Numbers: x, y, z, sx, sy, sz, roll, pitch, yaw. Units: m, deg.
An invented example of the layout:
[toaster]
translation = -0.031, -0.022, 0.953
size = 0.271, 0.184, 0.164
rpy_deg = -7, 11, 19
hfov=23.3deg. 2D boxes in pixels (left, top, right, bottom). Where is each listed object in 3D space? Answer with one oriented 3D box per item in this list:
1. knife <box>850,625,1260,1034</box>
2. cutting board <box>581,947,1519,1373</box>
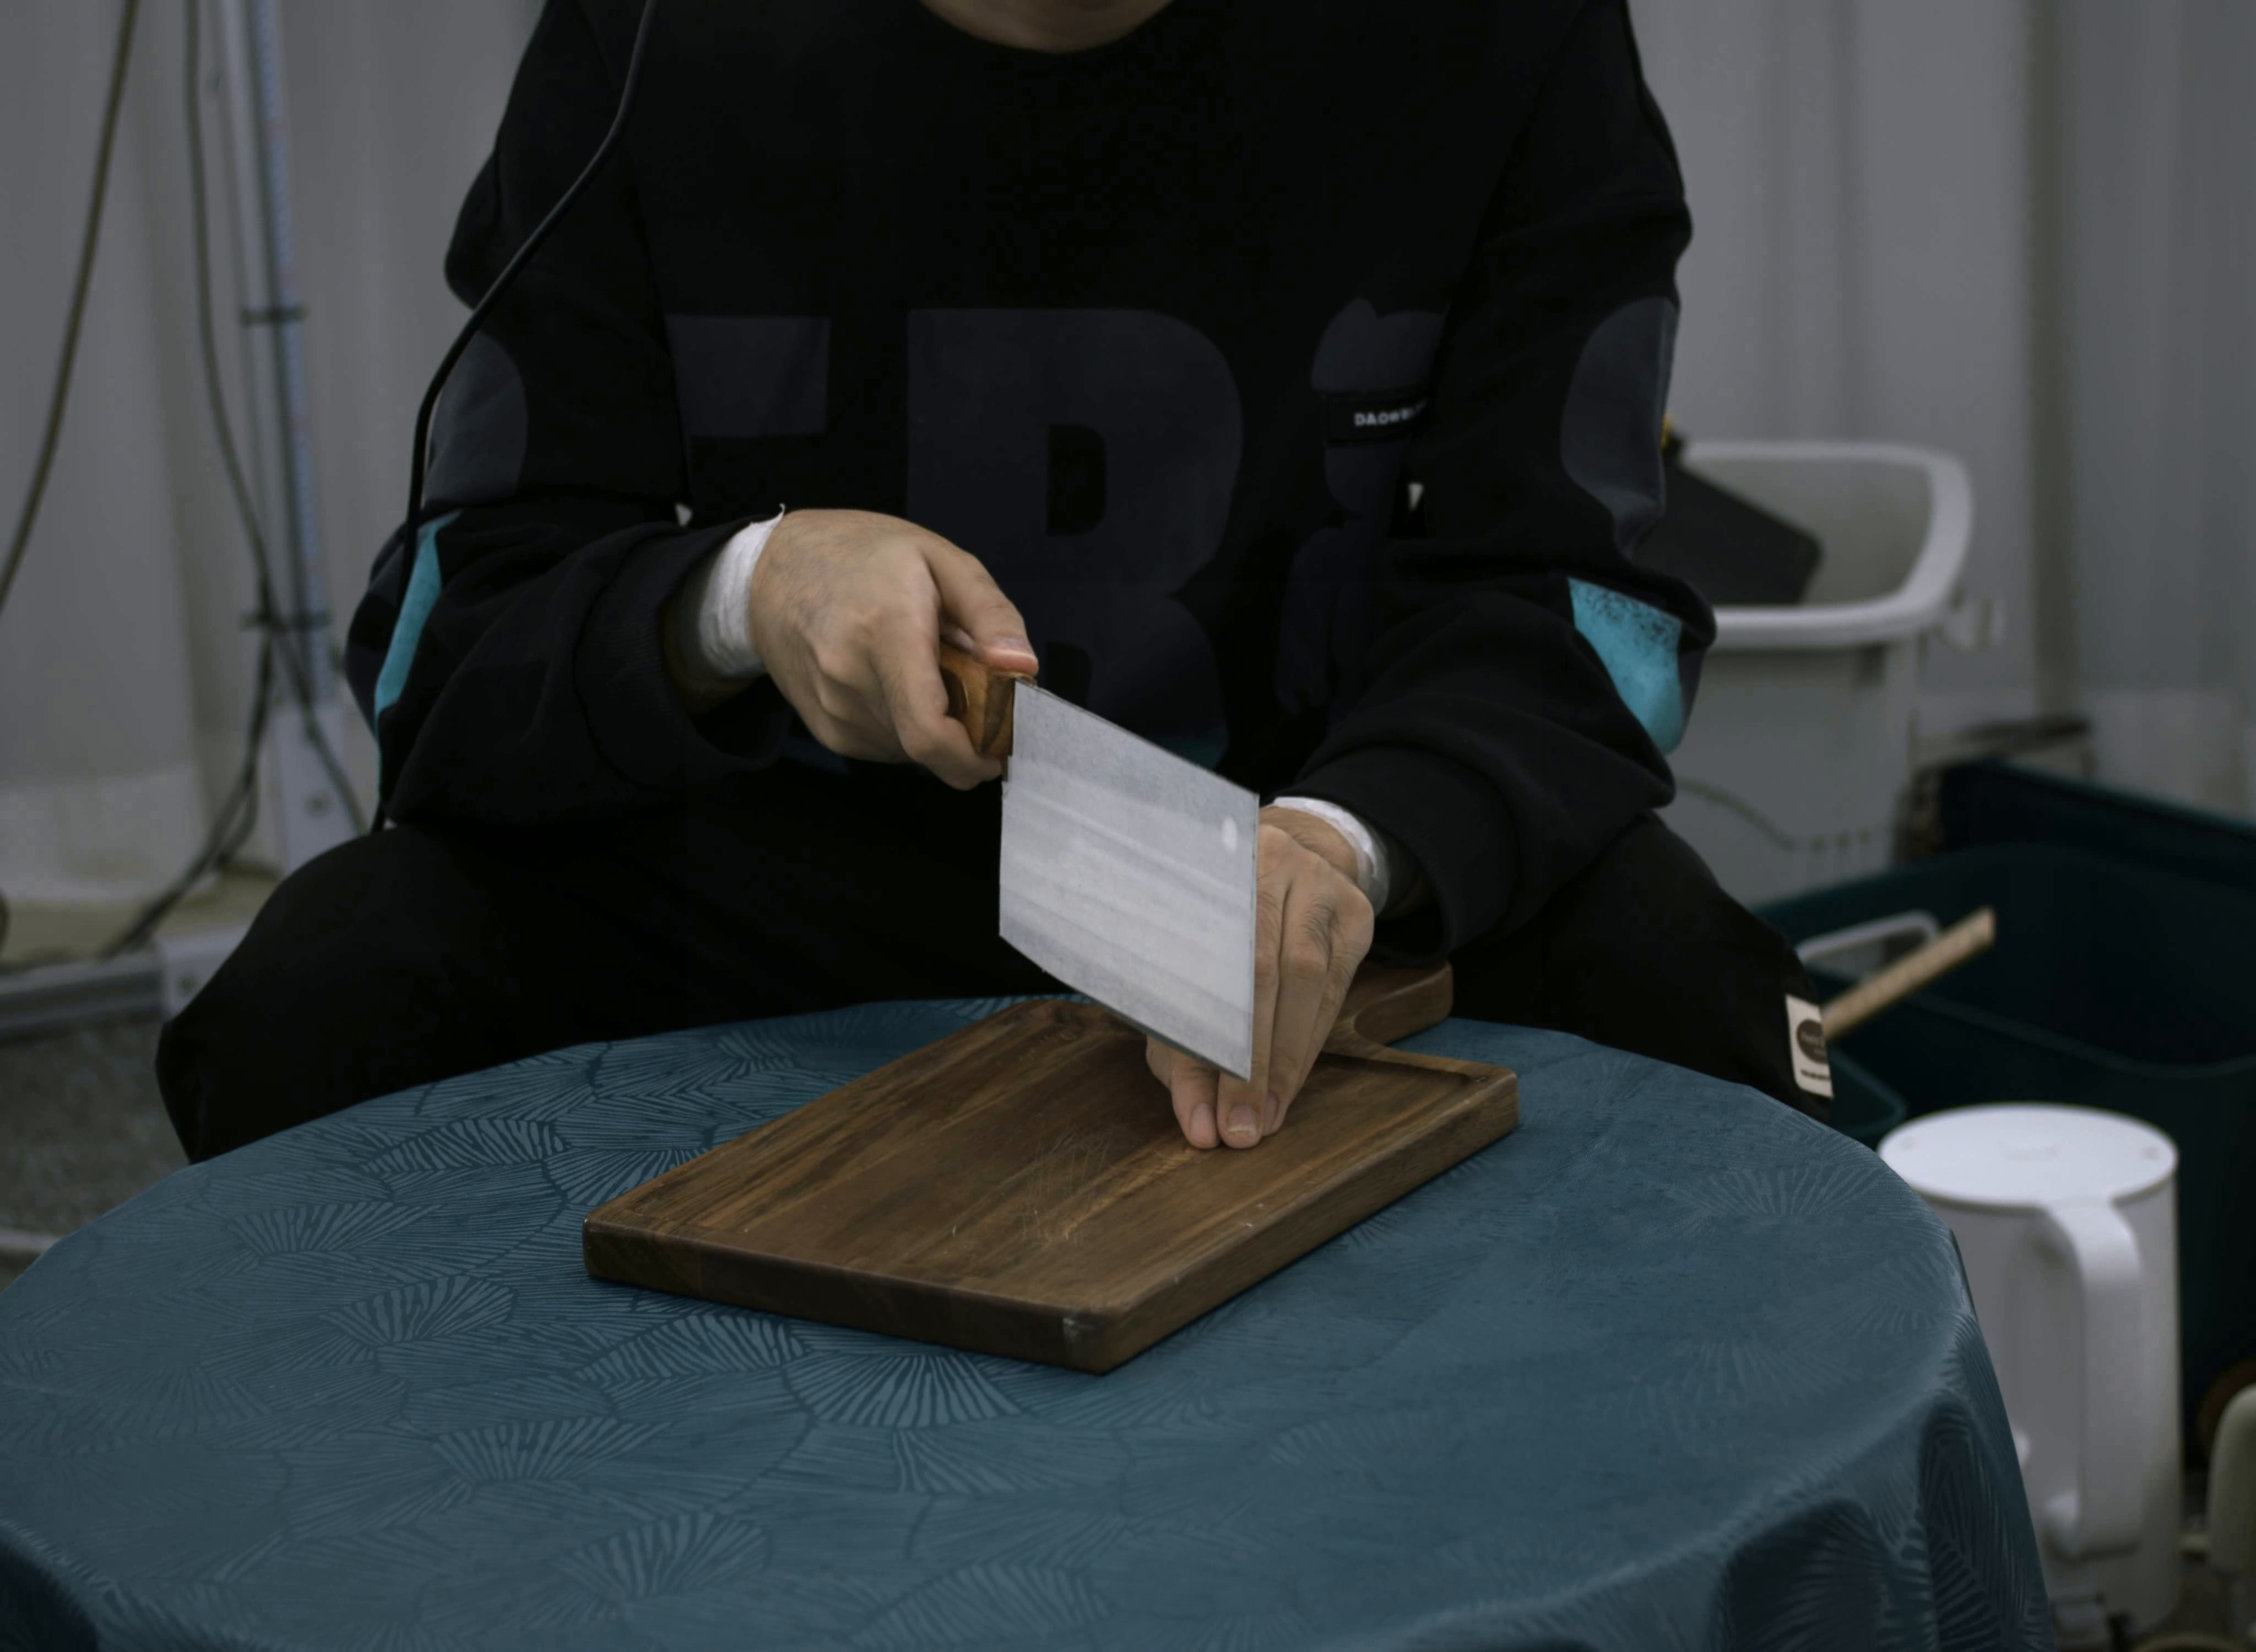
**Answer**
[knife]
translation = -0.026, 0.001, 1.752
size = 0.021, 0.092, 0.308
rpy_deg = -4, 14, -24
[cutting board]
translation = 0.006, 0.095, 1.745
size = 0.201, 0.023, 0.352
rpy_deg = 7, 18, 32
